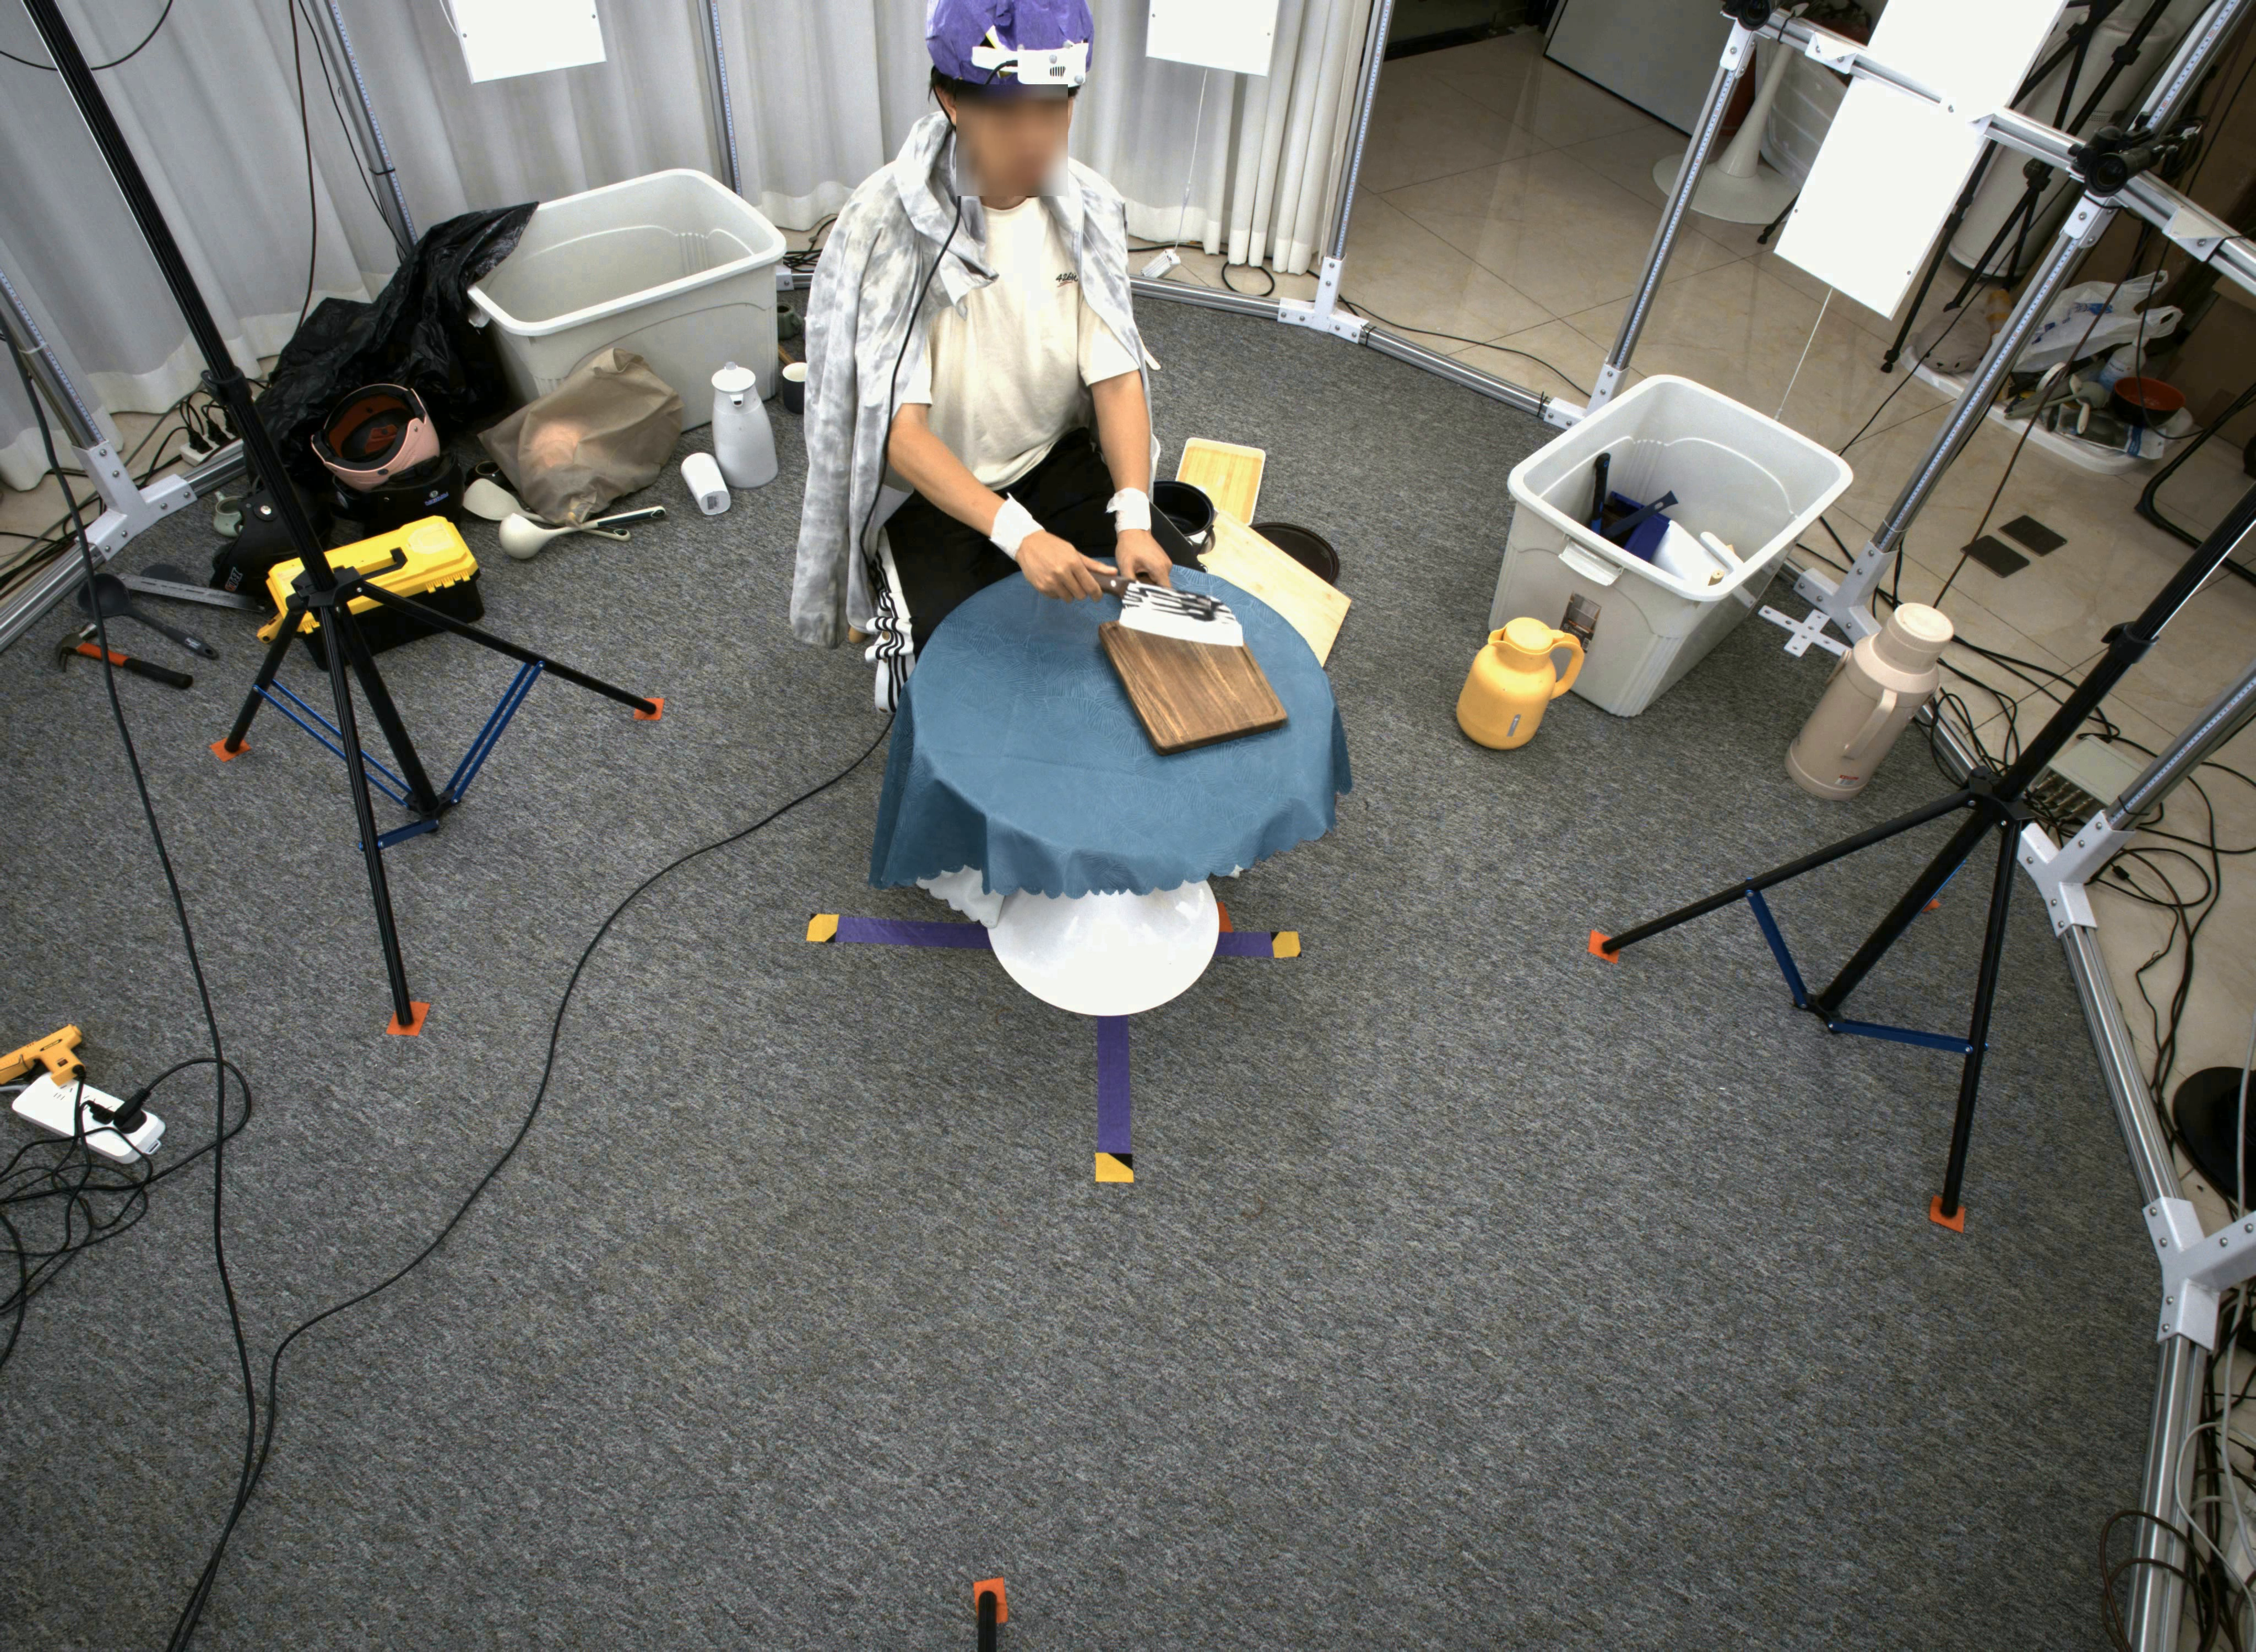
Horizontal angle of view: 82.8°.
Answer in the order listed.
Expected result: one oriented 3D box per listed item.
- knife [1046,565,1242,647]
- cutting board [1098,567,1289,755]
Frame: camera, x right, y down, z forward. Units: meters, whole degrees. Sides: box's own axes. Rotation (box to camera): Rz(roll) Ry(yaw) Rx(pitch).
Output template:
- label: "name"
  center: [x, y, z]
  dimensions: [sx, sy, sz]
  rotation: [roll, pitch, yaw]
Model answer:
- label: "knife"
  center: [0.022, -0.312, 1.829]
  dimensions: [0.300, 0.024, 0.068]
  rotation: [14, 91, 5]
- label: "cutting board"
  center: [0.073, -0.256, 1.865]
  dimensions: [0.201, 0.022, 0.360]
  rotation: [-14, 53, -16]
